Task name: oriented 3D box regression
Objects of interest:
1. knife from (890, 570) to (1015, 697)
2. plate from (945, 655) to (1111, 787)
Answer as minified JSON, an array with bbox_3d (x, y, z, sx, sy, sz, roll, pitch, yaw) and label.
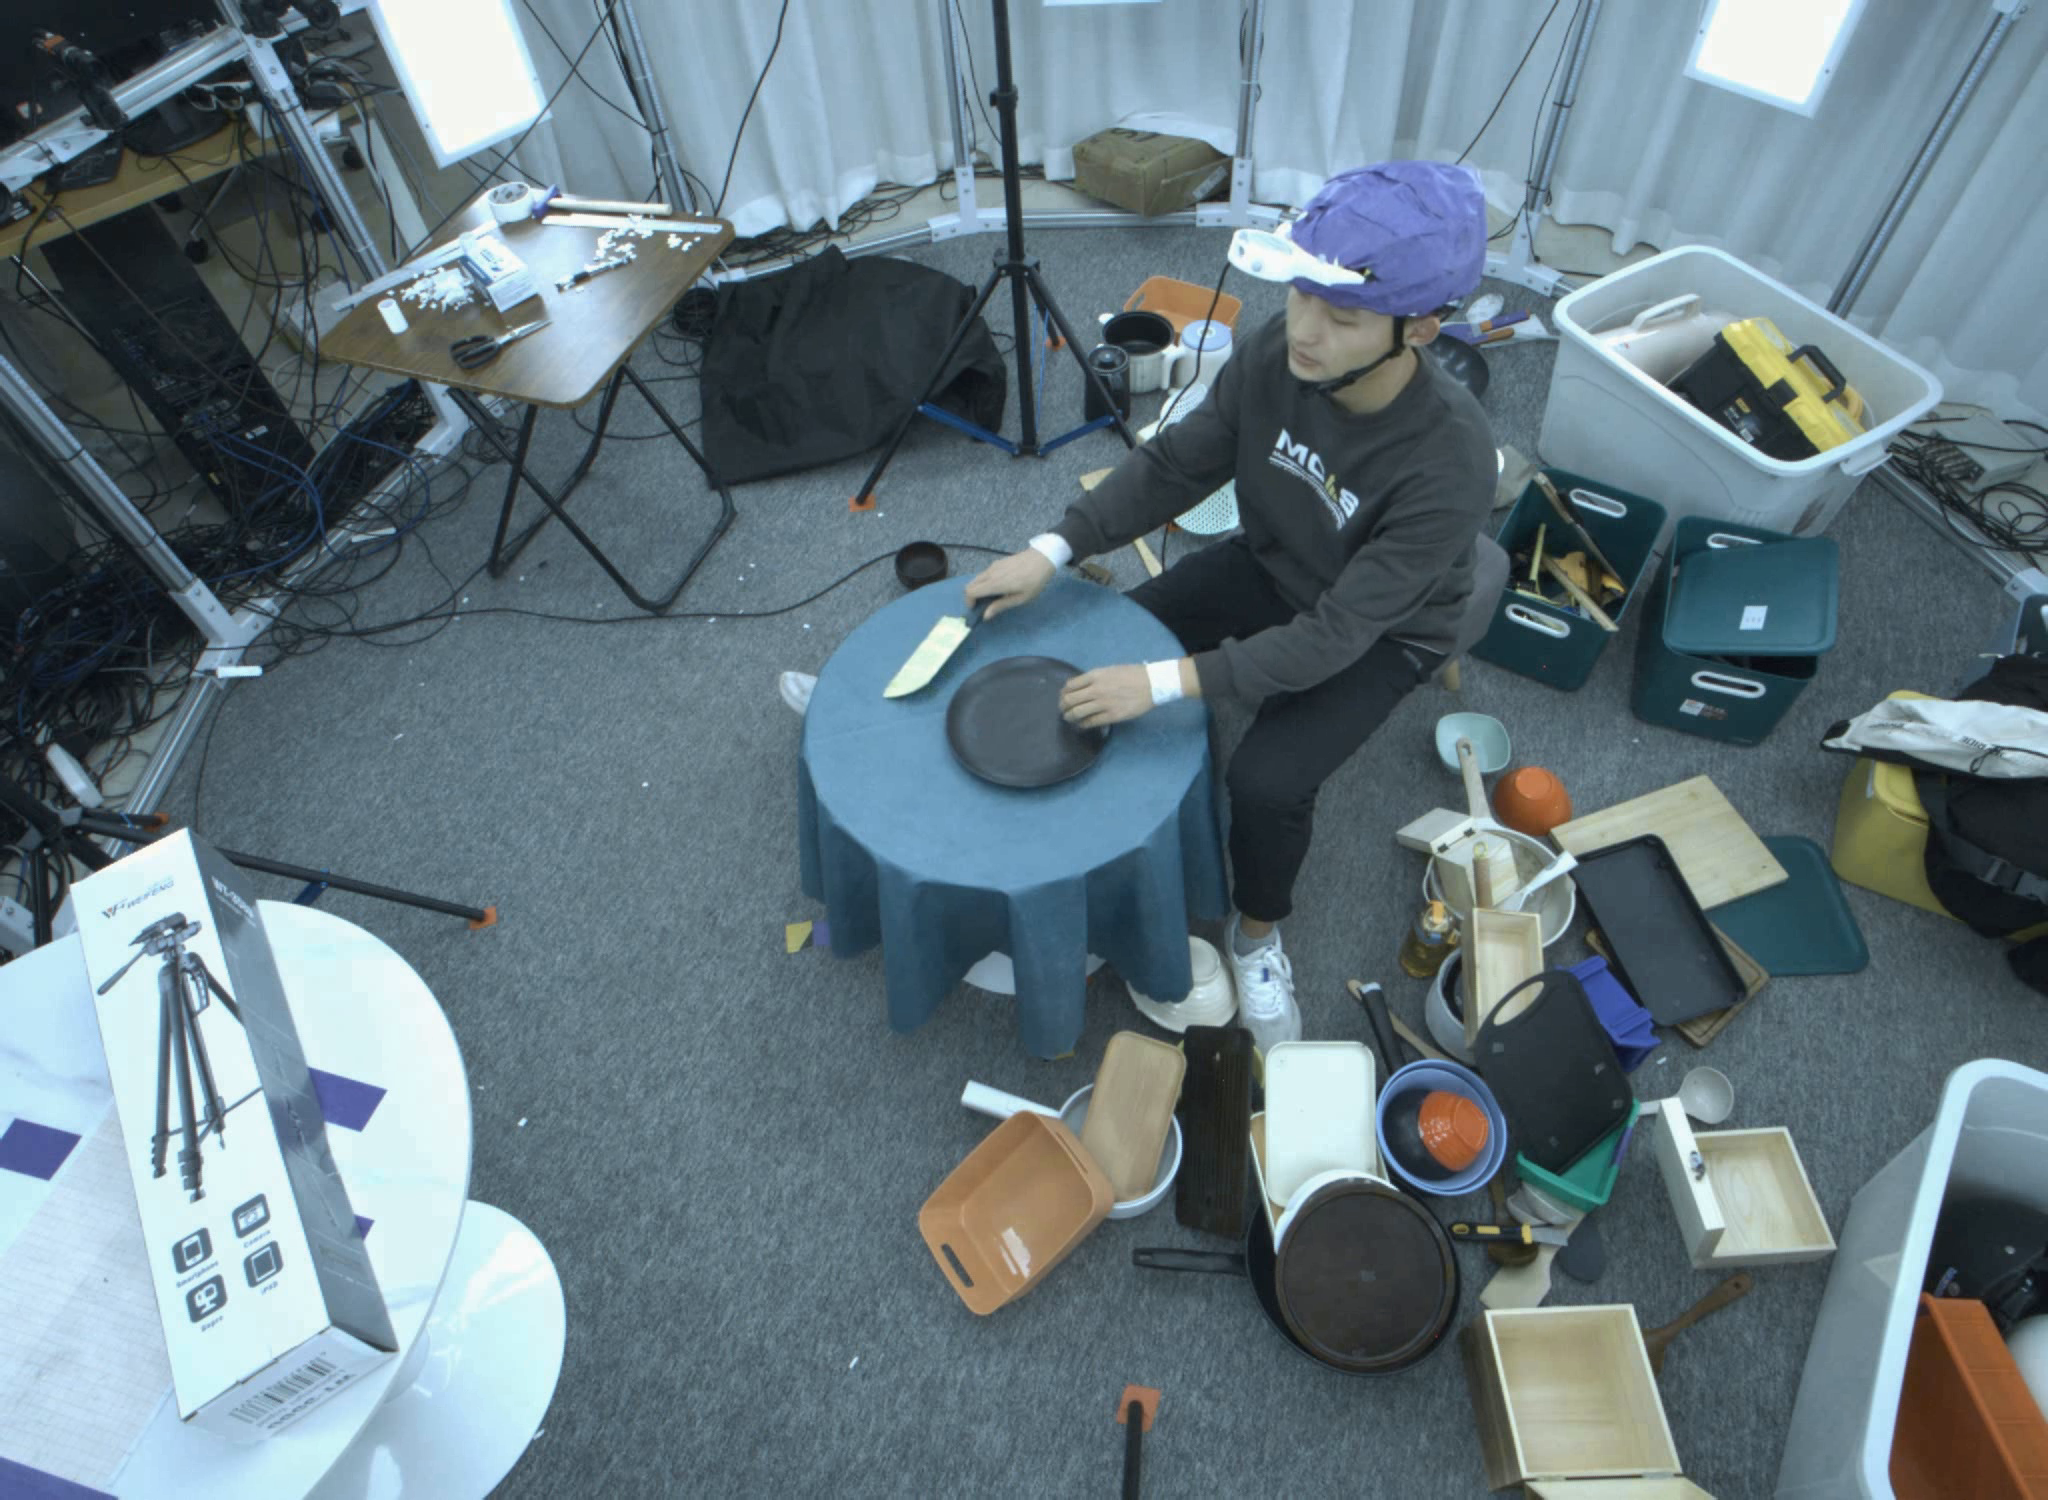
[{"bbox_3d":[-0.112,-0.183,1.902,0.079,0.028,0.290,21,60,36],"label":"knife"},{"bbox_3d":[0.005,-0.041,1.810,0.244,0.023,0.242,0,54,1],"label":"plate"}]
